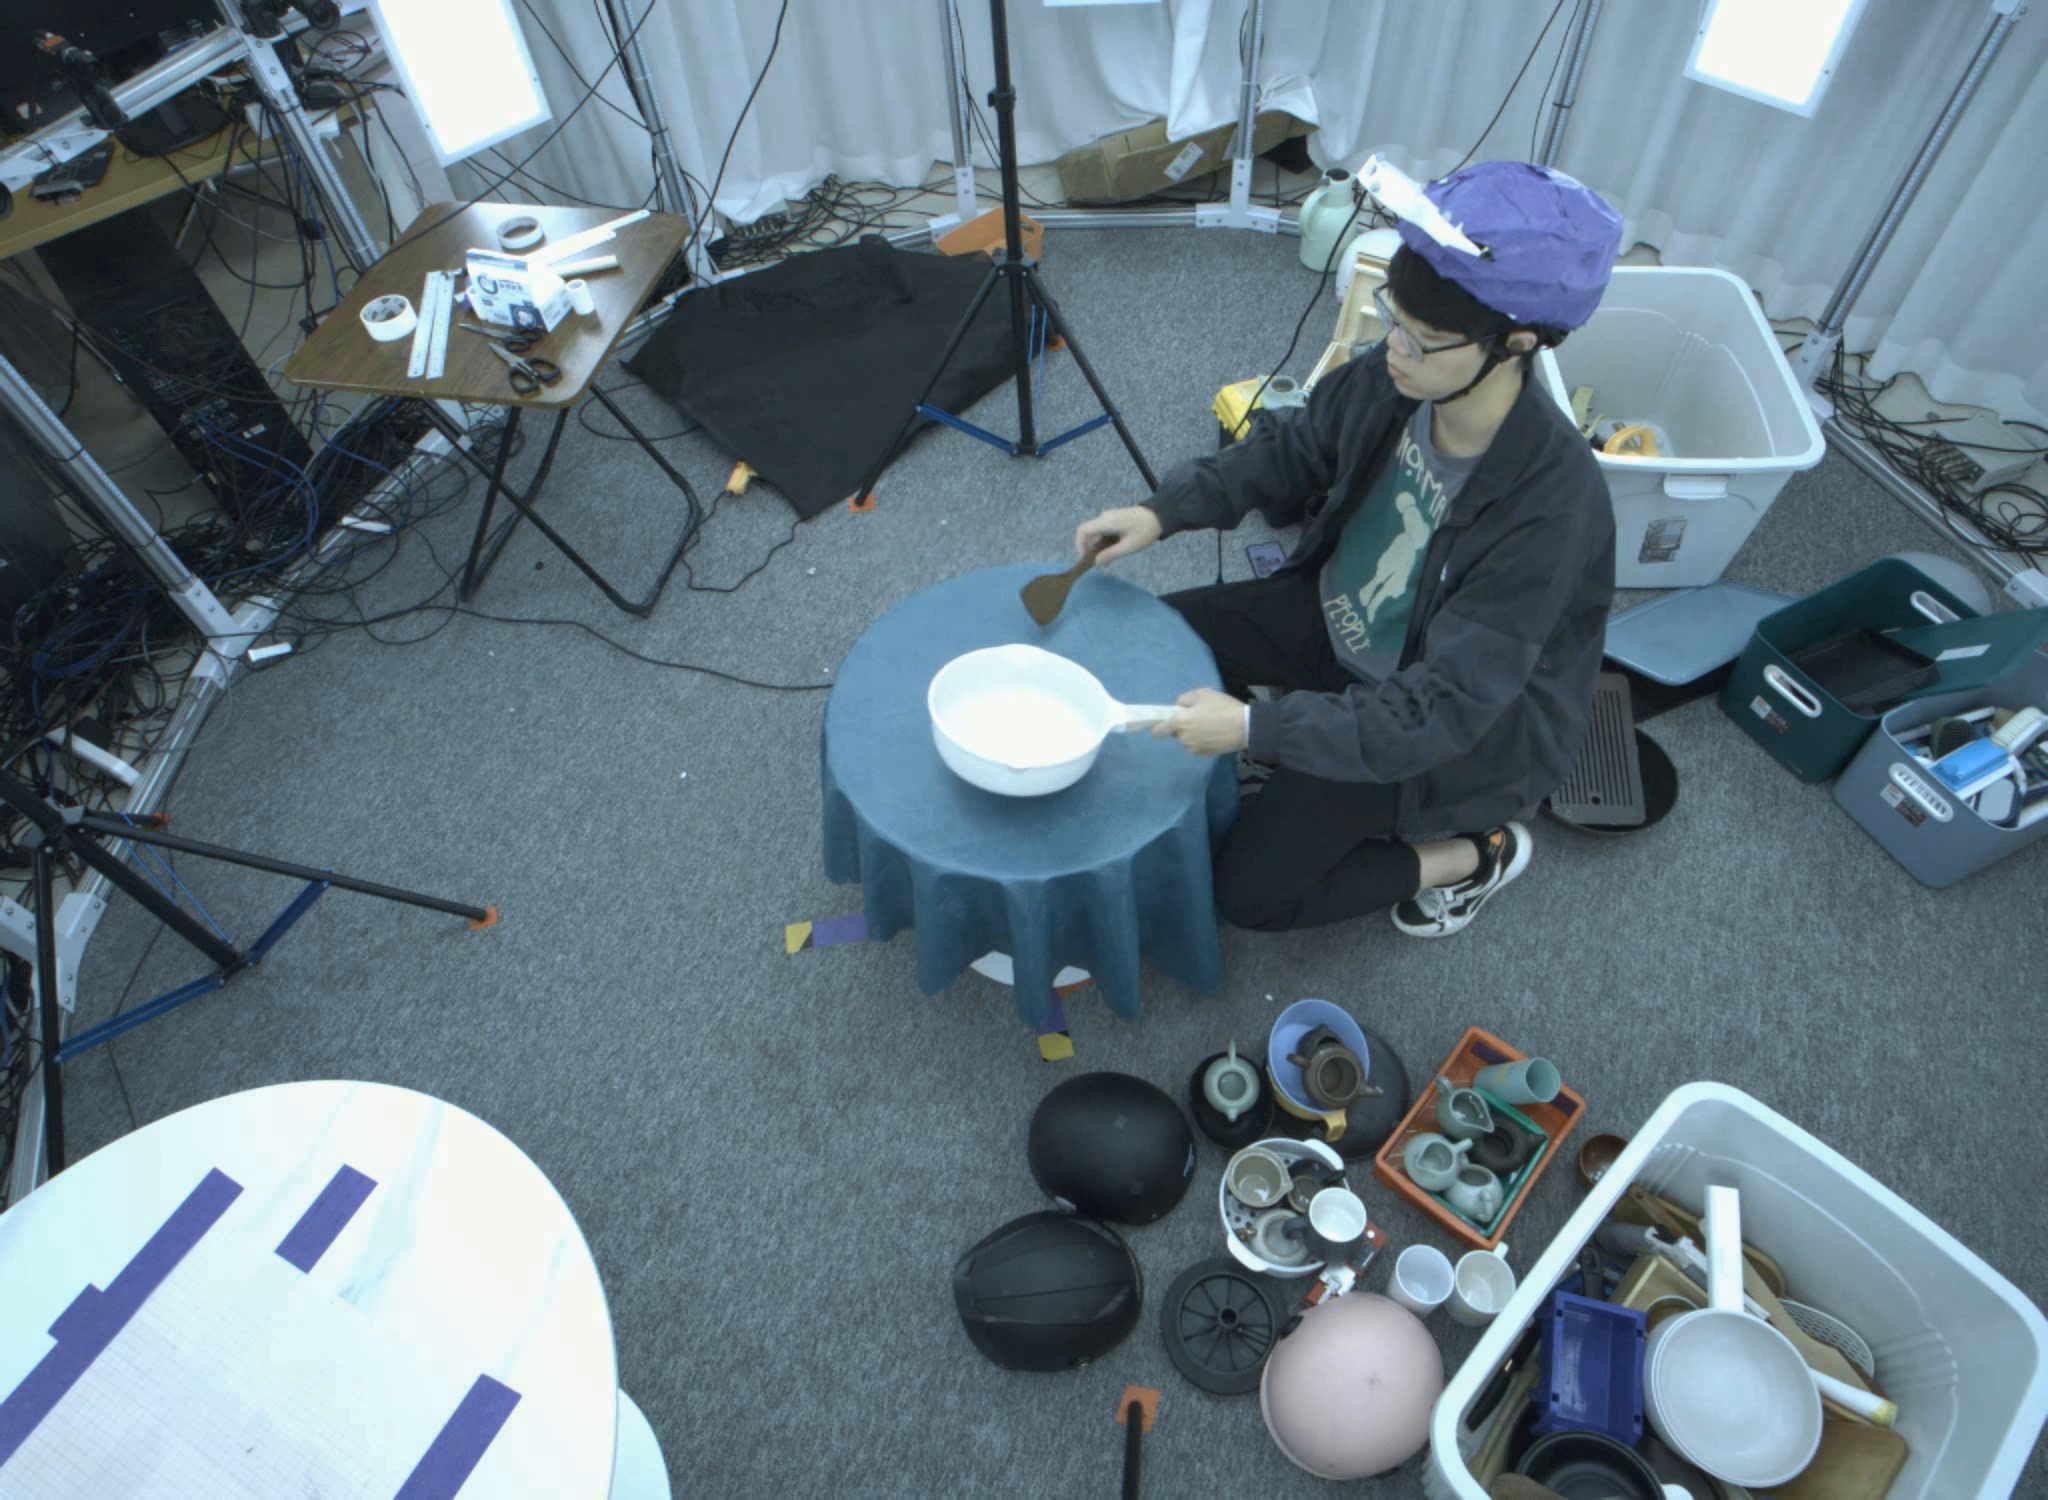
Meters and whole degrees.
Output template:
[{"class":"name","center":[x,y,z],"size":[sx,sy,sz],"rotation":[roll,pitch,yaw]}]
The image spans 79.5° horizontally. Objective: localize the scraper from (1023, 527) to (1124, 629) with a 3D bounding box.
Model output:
[{"class":"scraper","center":[0.080,-0.276,1.907],"size":[0.212,0.077,0.010],"rotation":[-44,34,-19]}]

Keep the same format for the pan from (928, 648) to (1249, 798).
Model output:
[{"class":"pan","center":[0.085,-0.029,1.689],"size":[0.437,0.102,0.260],"rotation":[5,40,-6]}]
